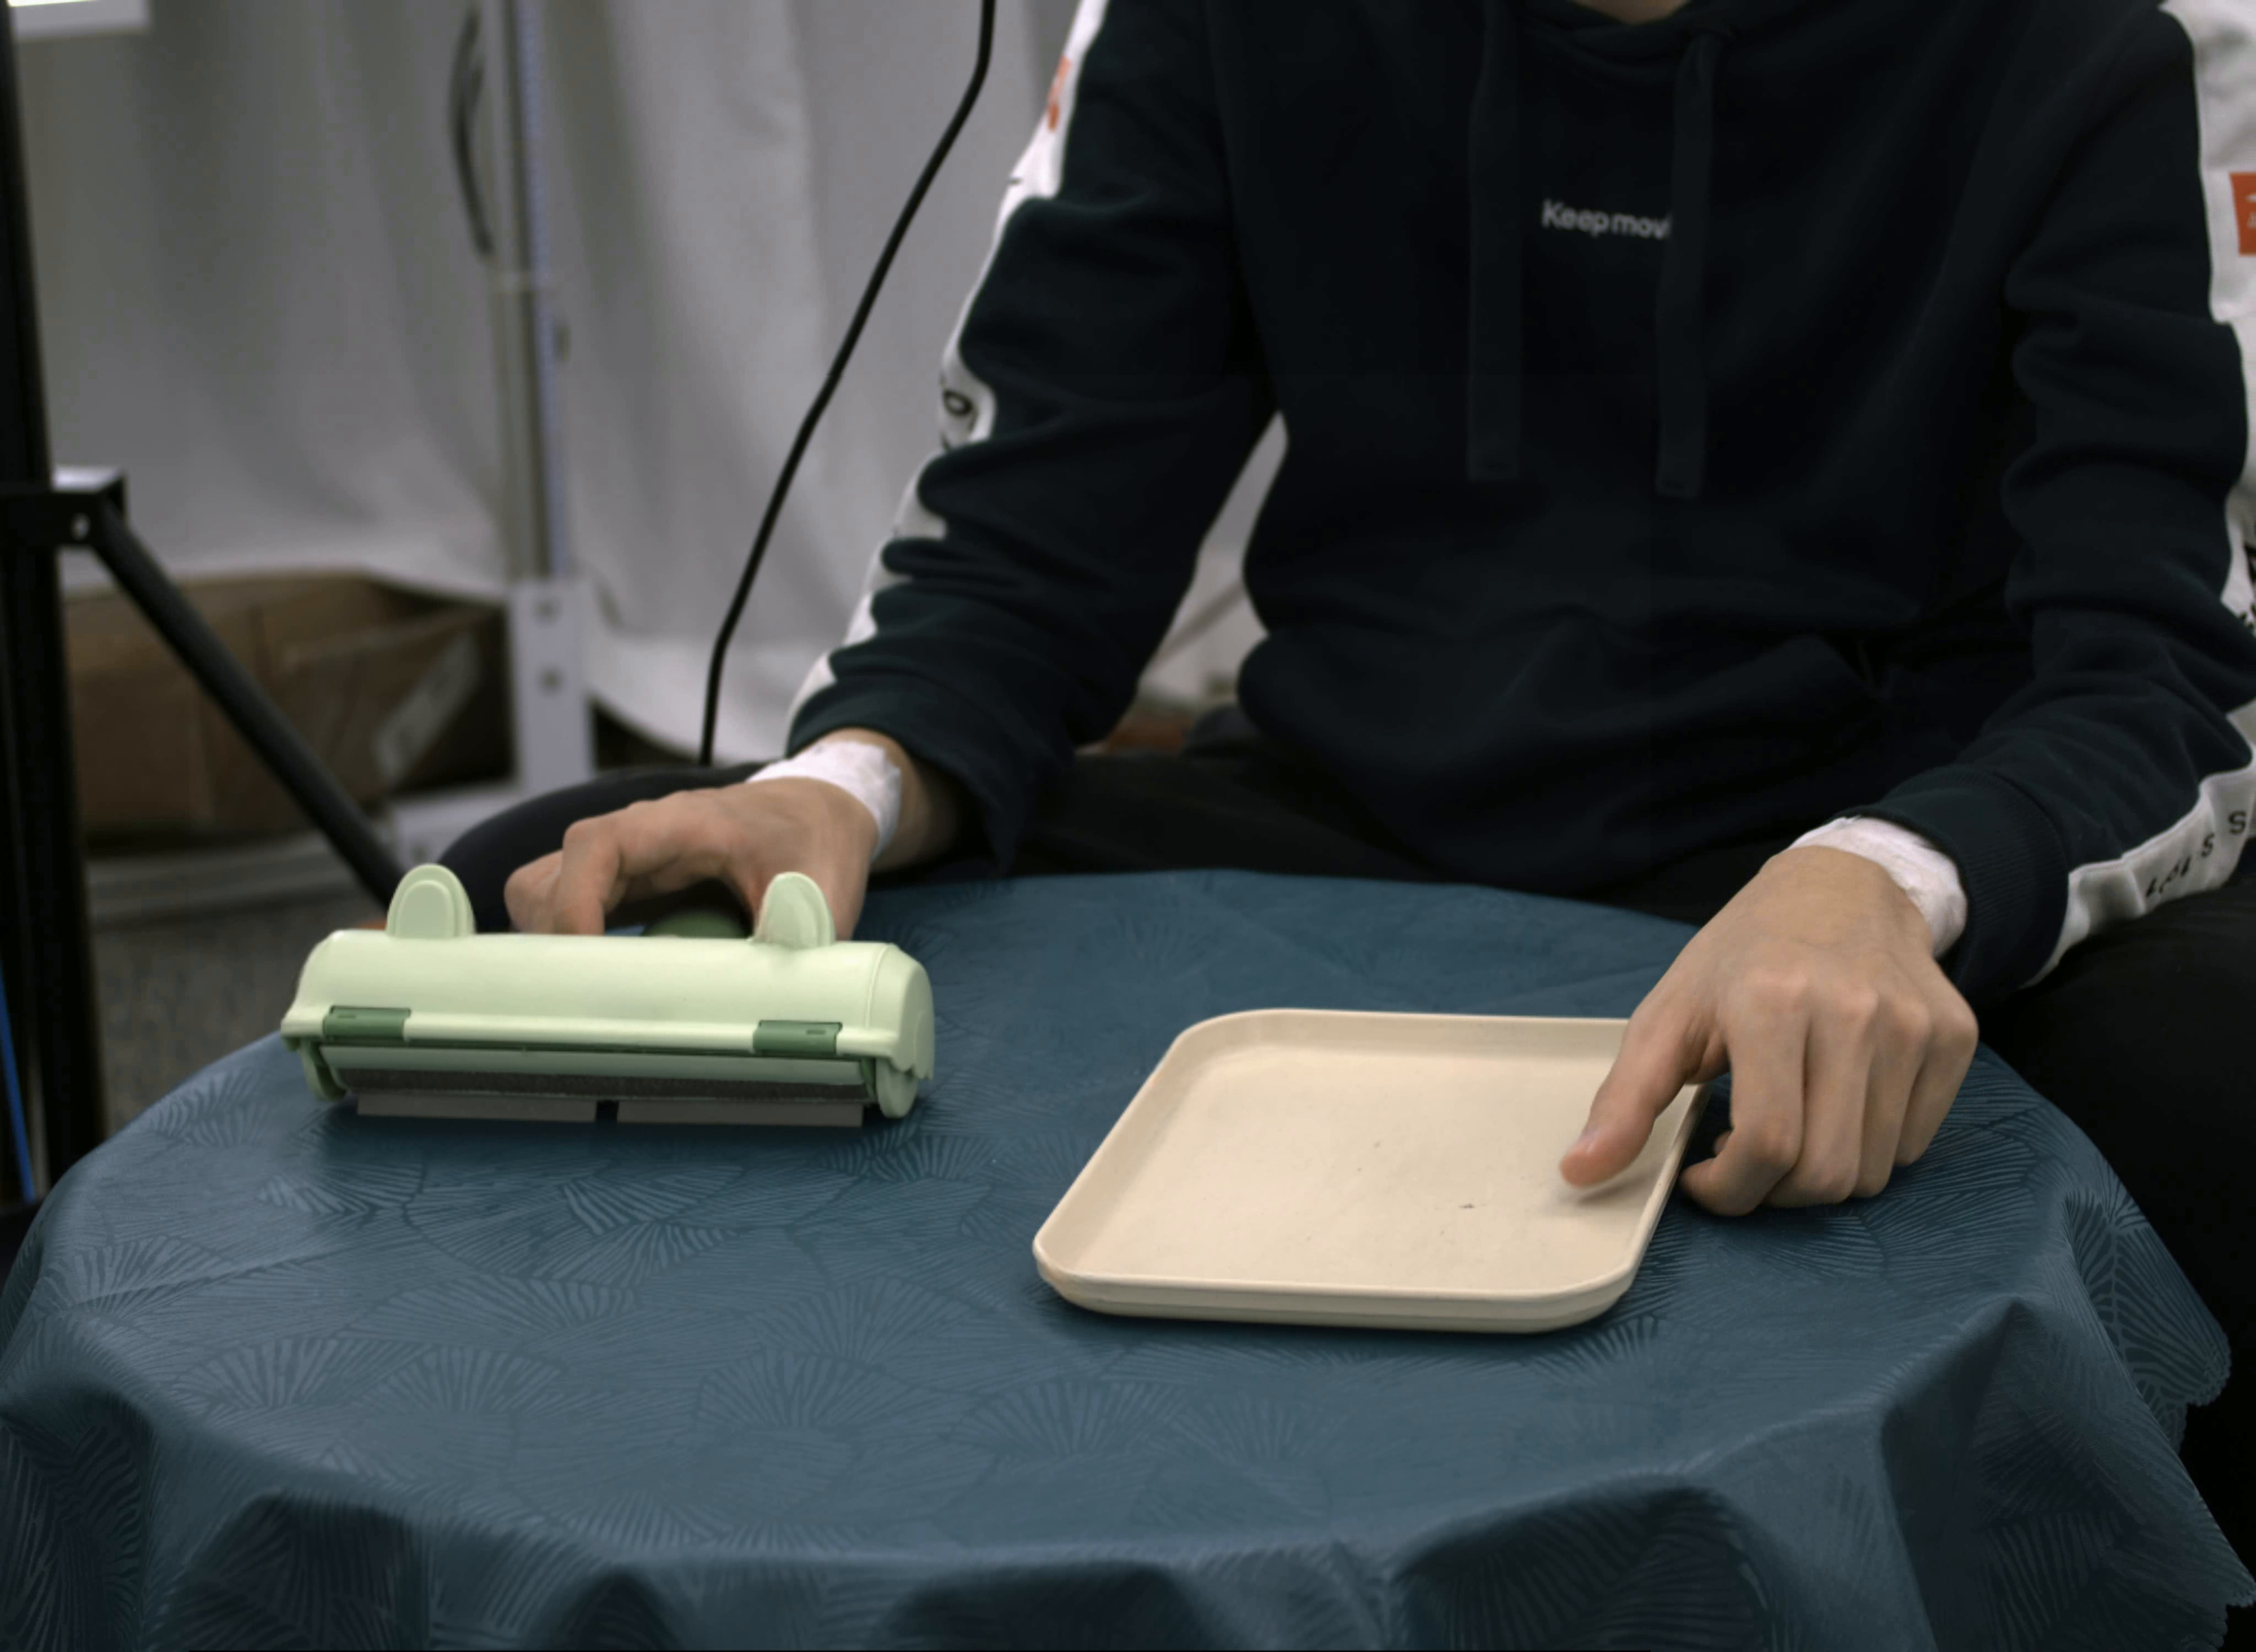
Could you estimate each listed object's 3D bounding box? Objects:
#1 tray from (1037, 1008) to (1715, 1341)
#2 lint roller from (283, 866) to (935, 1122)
[{"bbox_3d":[0.077,0.100,1.541,0.172,0.017,0.238,2,17,14],"label":"tray"},{"bbox_3d":[-0.149,0.036,1.698,0.200,0.082,0.182,1,20,13],"label":"lint roller"}]
